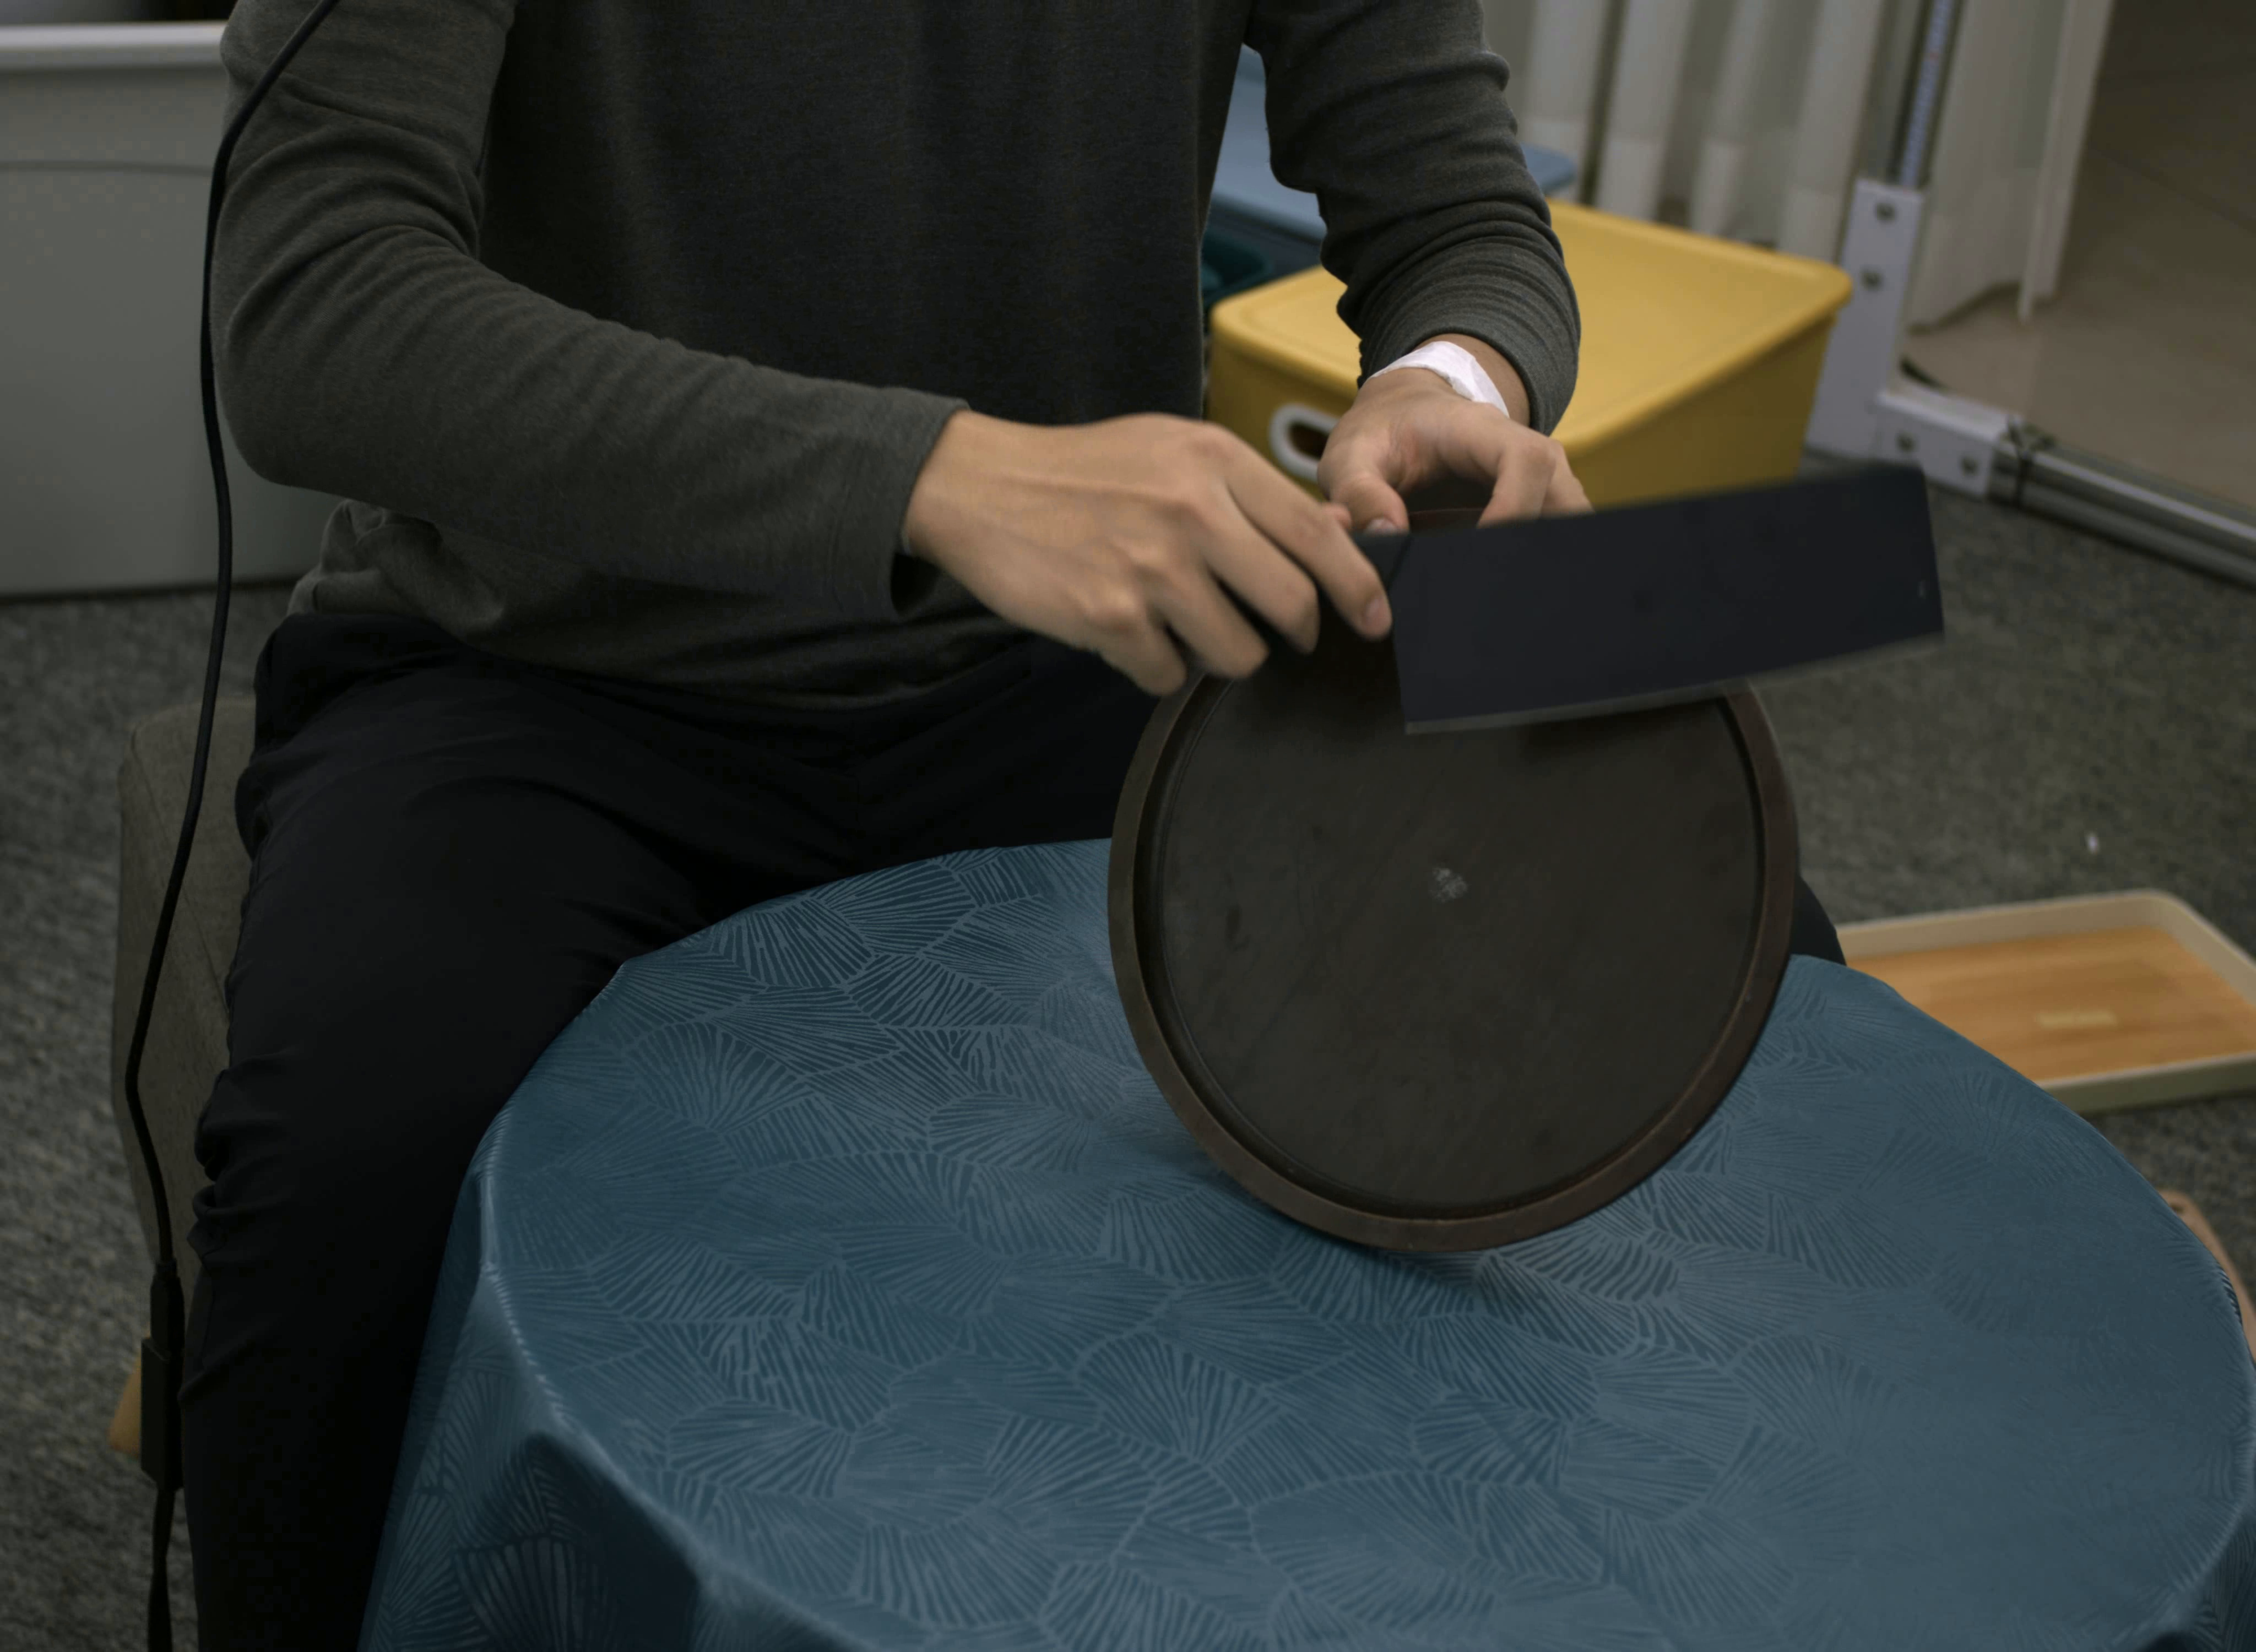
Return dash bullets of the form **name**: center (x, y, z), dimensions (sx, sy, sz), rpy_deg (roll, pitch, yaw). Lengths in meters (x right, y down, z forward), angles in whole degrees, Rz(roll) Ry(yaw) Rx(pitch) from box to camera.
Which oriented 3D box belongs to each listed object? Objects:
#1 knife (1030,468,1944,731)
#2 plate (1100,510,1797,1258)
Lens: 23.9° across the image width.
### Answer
- **knife**: center (0.116, -0.070, 1.758), dimensions (0.302, 0.081, 0.021), rpy_deg (-3, -9, 8)
- **plate**: center (0.107, 0.019, 1.796), dimensions (0.256, 0.255, 0.029), rpy_deg (22, 4, 28)
